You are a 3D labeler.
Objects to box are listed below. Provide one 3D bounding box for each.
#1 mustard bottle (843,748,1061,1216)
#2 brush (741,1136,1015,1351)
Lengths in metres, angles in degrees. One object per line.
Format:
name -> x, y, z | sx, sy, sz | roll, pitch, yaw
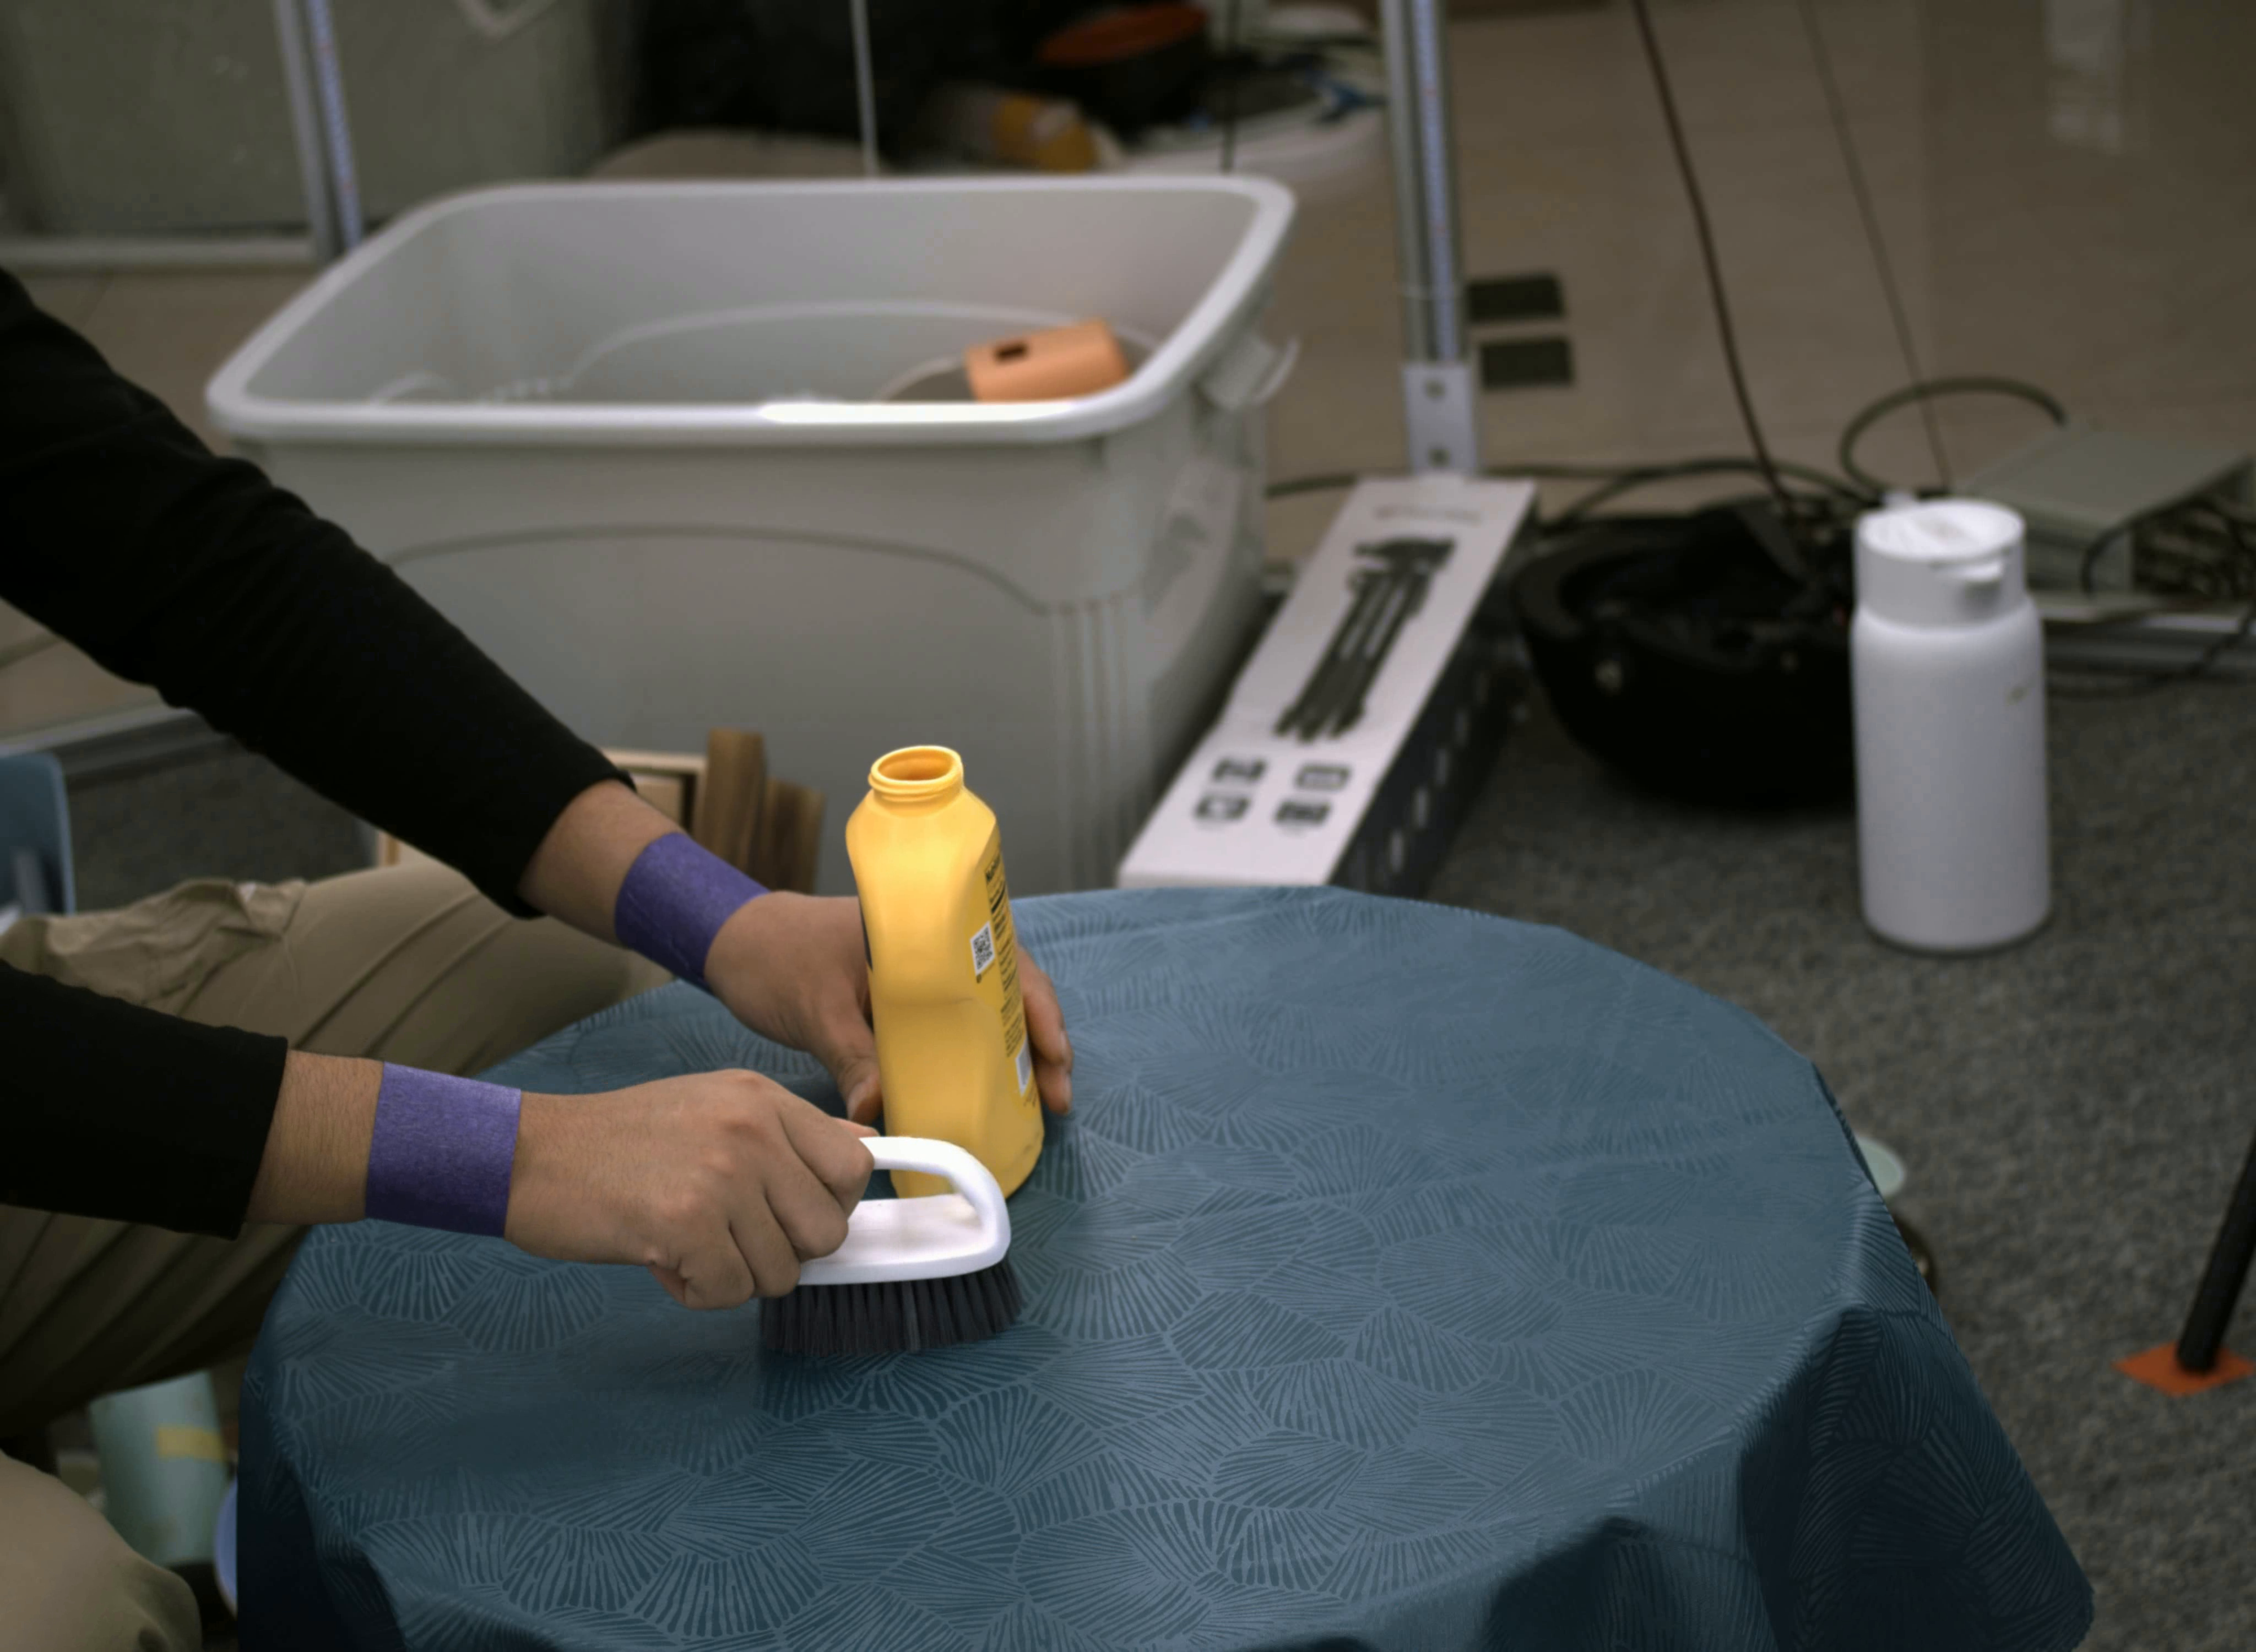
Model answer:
mustard bottle -> -0.068, 0.056, 2.140 | 0.059, 0.175, 0.097 | -8, 26, 7
brush -> -0.093, 0.147, 2.061 | 0.099, 0.073, 0.049 | -1, 25, 9
